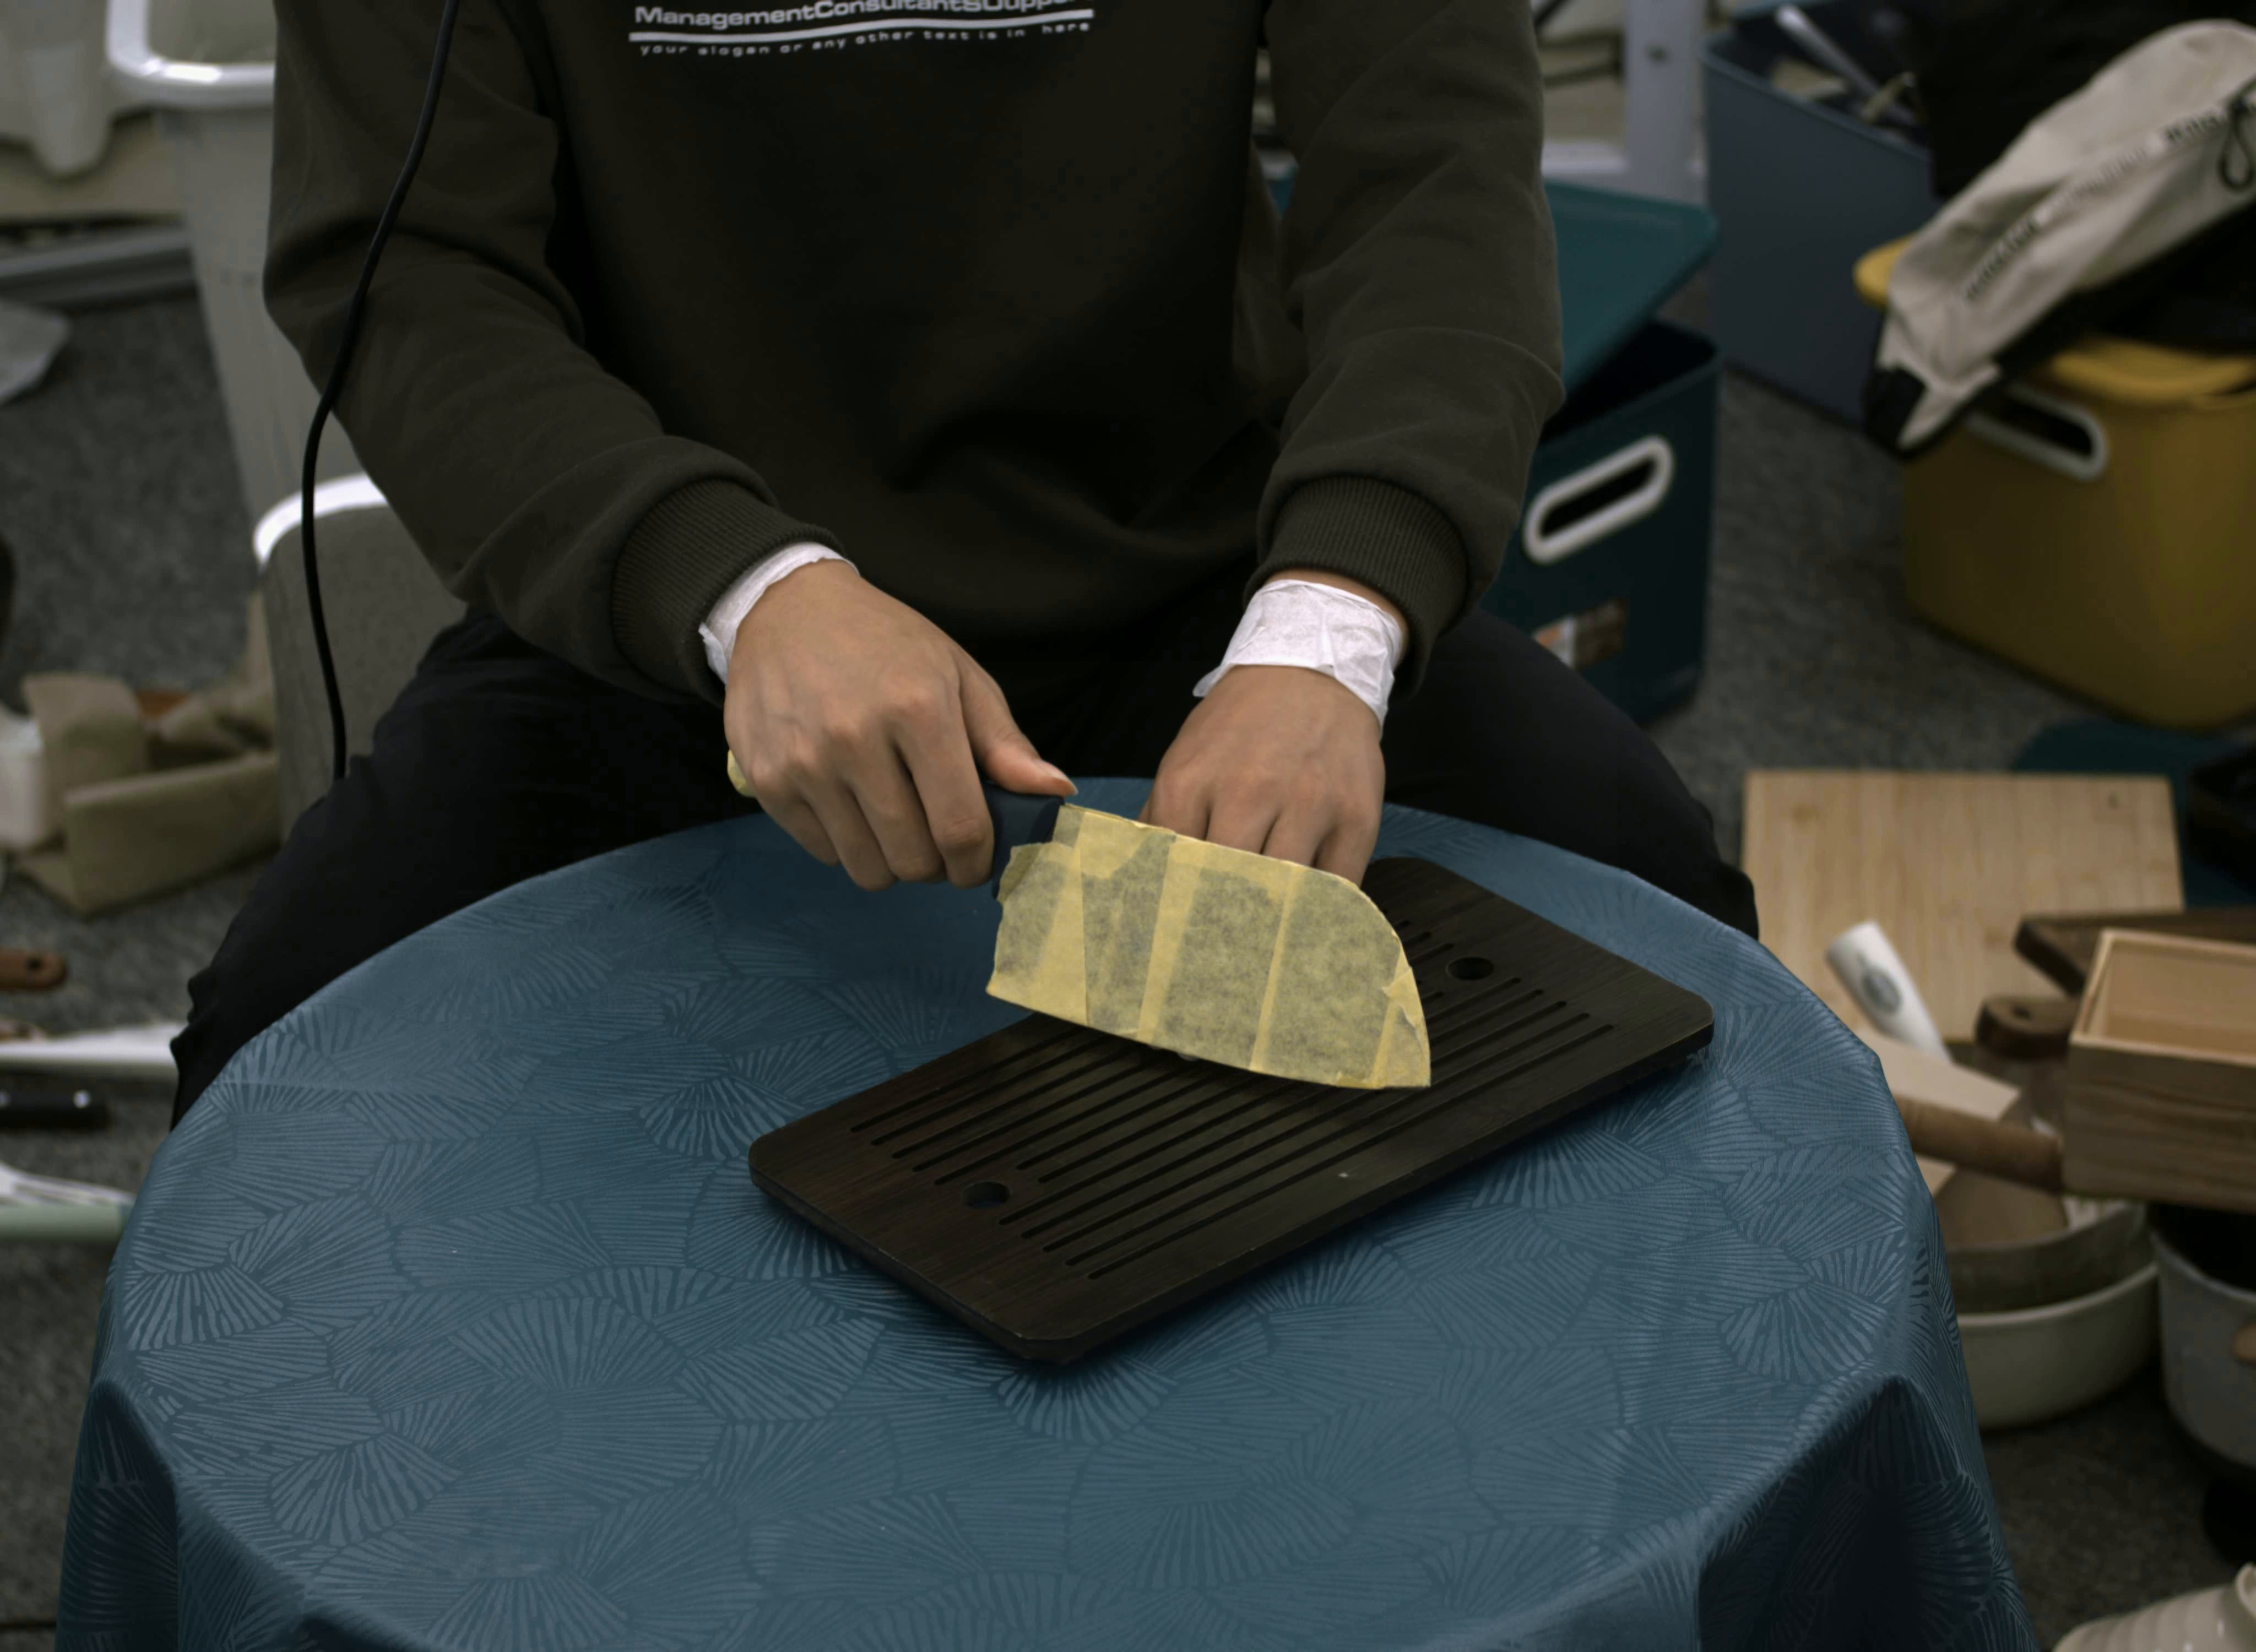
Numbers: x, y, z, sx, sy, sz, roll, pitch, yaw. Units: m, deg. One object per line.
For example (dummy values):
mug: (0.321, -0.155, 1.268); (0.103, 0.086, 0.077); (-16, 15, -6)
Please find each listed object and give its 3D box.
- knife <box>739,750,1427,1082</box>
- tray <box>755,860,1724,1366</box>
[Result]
knife: (-0.019, 0.028, 1.925); (0.288, 0.081, 0.027); (18, 3, 31)
tray: (0.040, 0.094, 1.891); (0.309, 0.018, 0.170); (-23, 33, -34)
